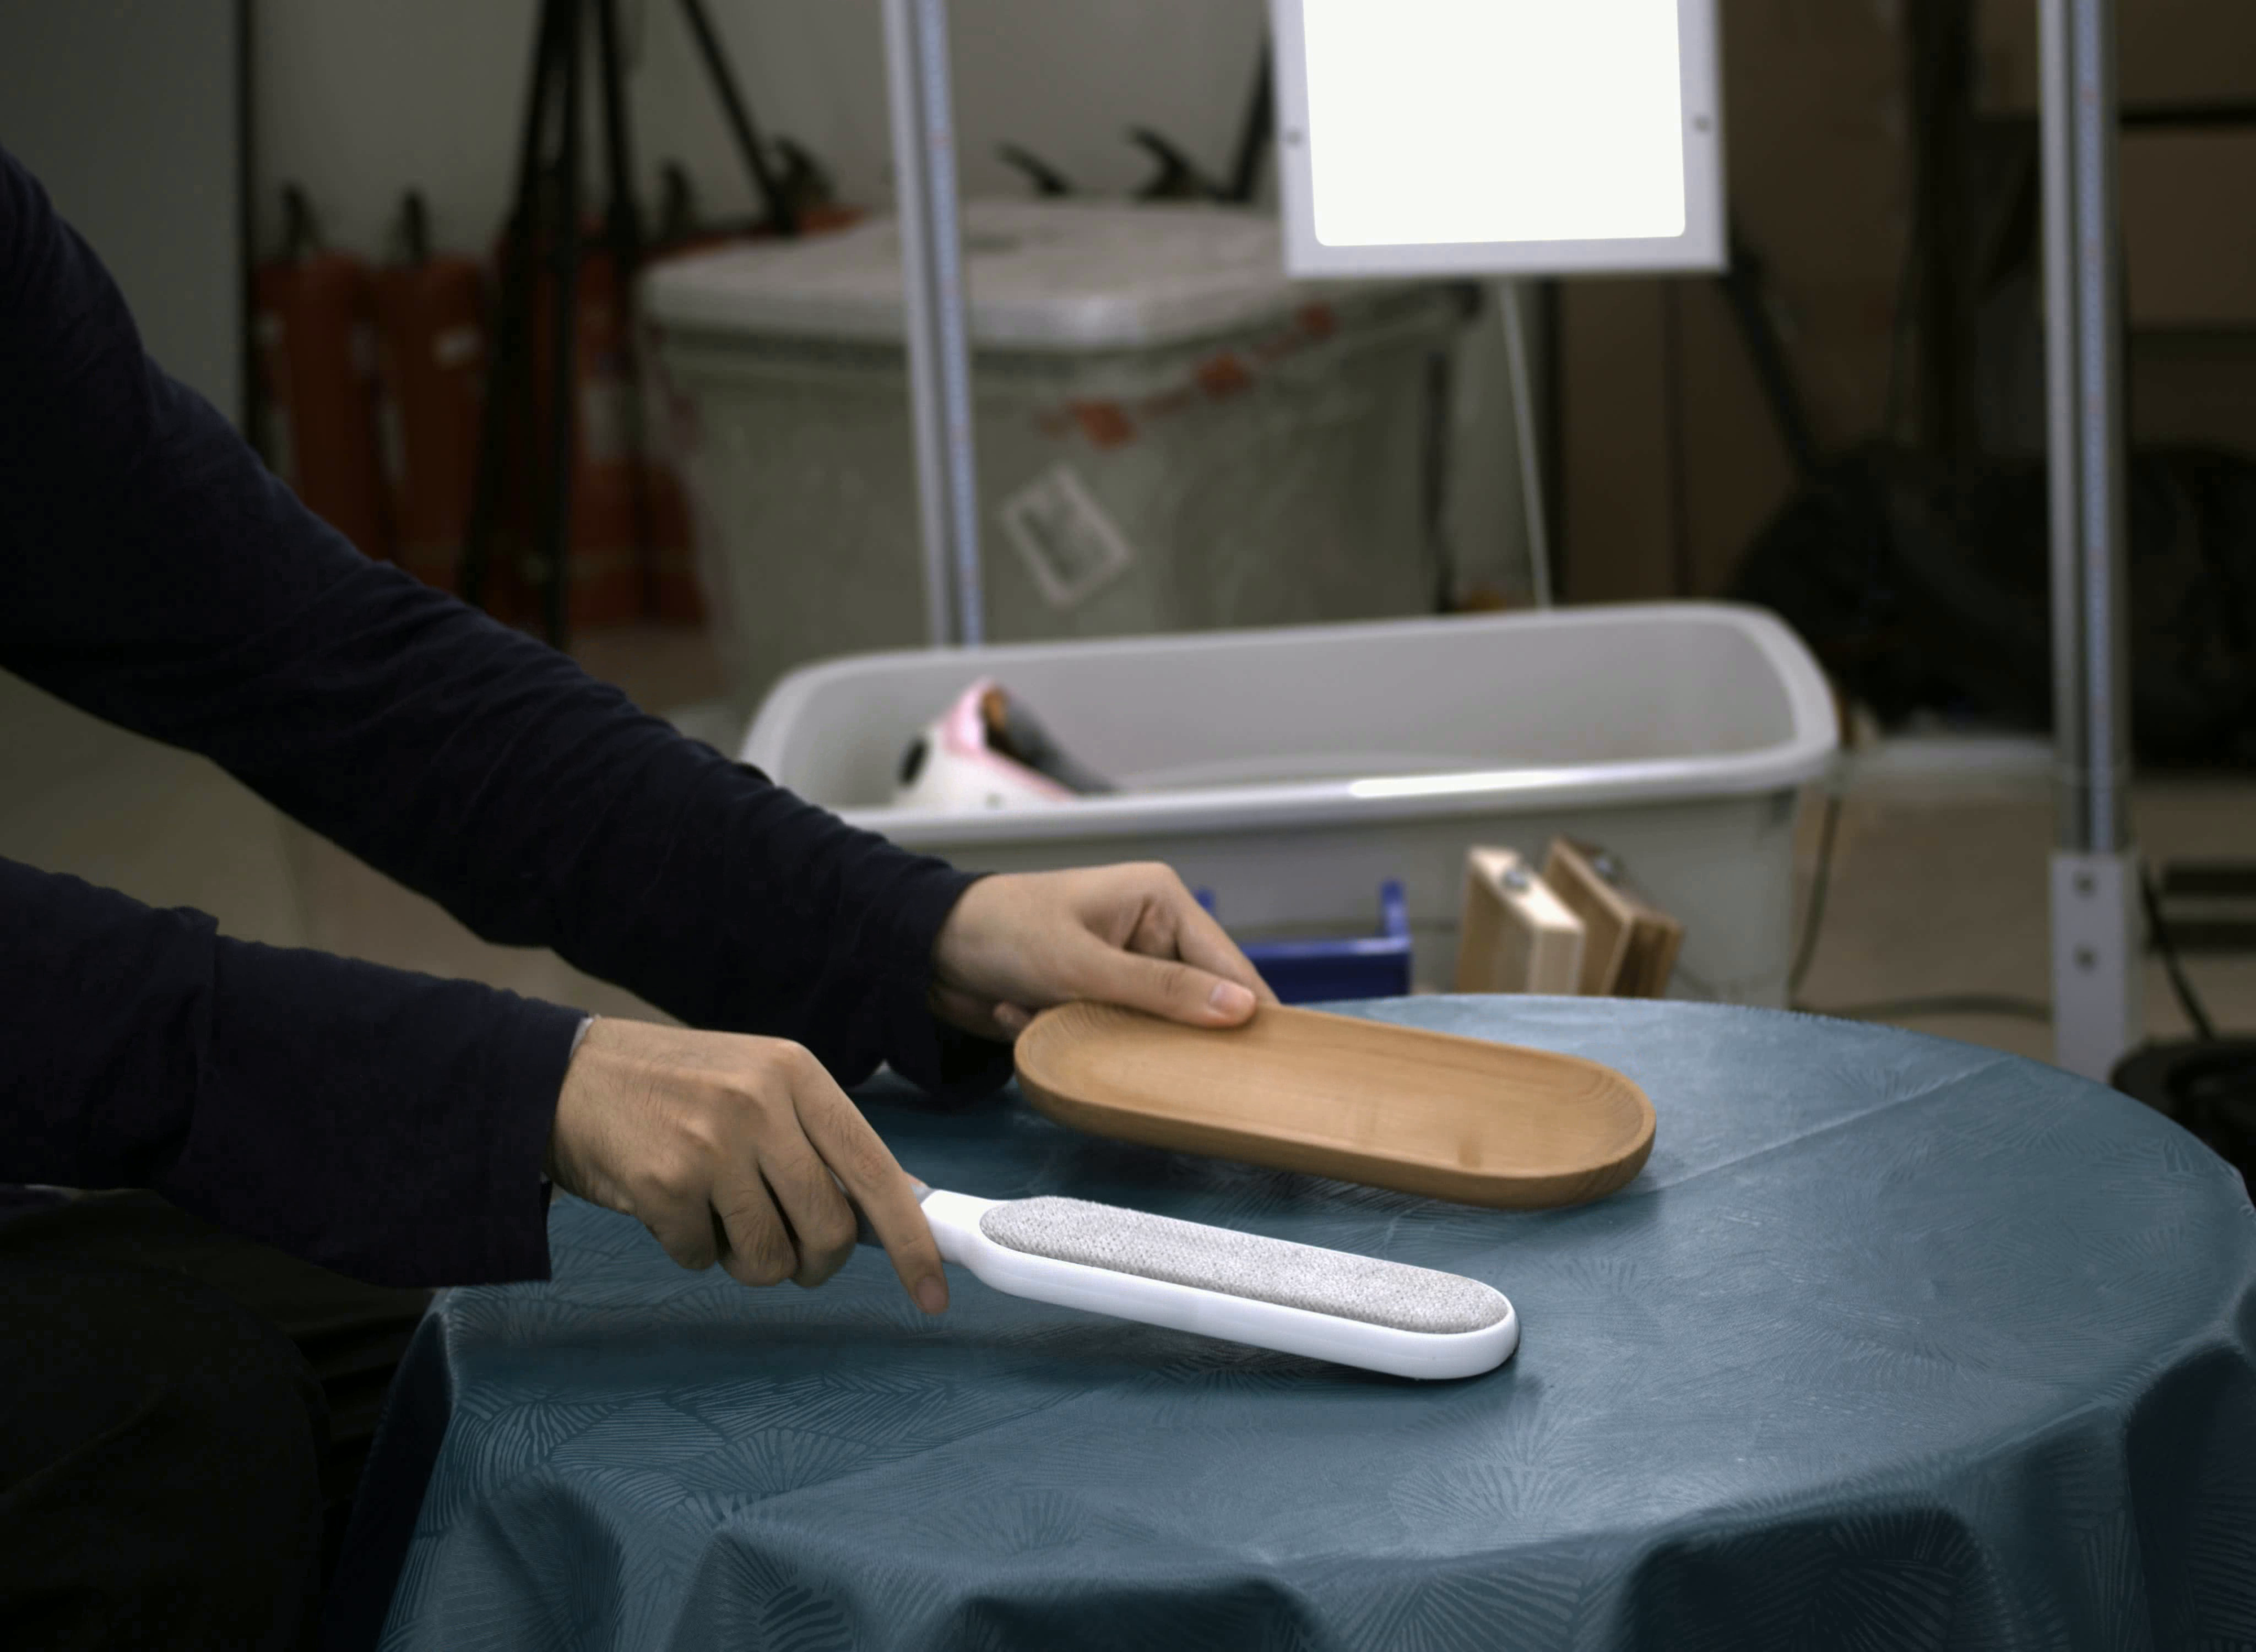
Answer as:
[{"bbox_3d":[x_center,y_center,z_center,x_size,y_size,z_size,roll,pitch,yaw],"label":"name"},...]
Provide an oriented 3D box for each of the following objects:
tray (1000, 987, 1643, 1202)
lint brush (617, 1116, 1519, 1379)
[{"bbox_3d":[0.066,0.093,1.908,0.234,0.020,0.100,7,23,23],"label":"tray"},{"bbox_3d":[-0.024,0.130,1.751,0.313,0.021,0.059,11,26,23],"label":"lint brush"}]
